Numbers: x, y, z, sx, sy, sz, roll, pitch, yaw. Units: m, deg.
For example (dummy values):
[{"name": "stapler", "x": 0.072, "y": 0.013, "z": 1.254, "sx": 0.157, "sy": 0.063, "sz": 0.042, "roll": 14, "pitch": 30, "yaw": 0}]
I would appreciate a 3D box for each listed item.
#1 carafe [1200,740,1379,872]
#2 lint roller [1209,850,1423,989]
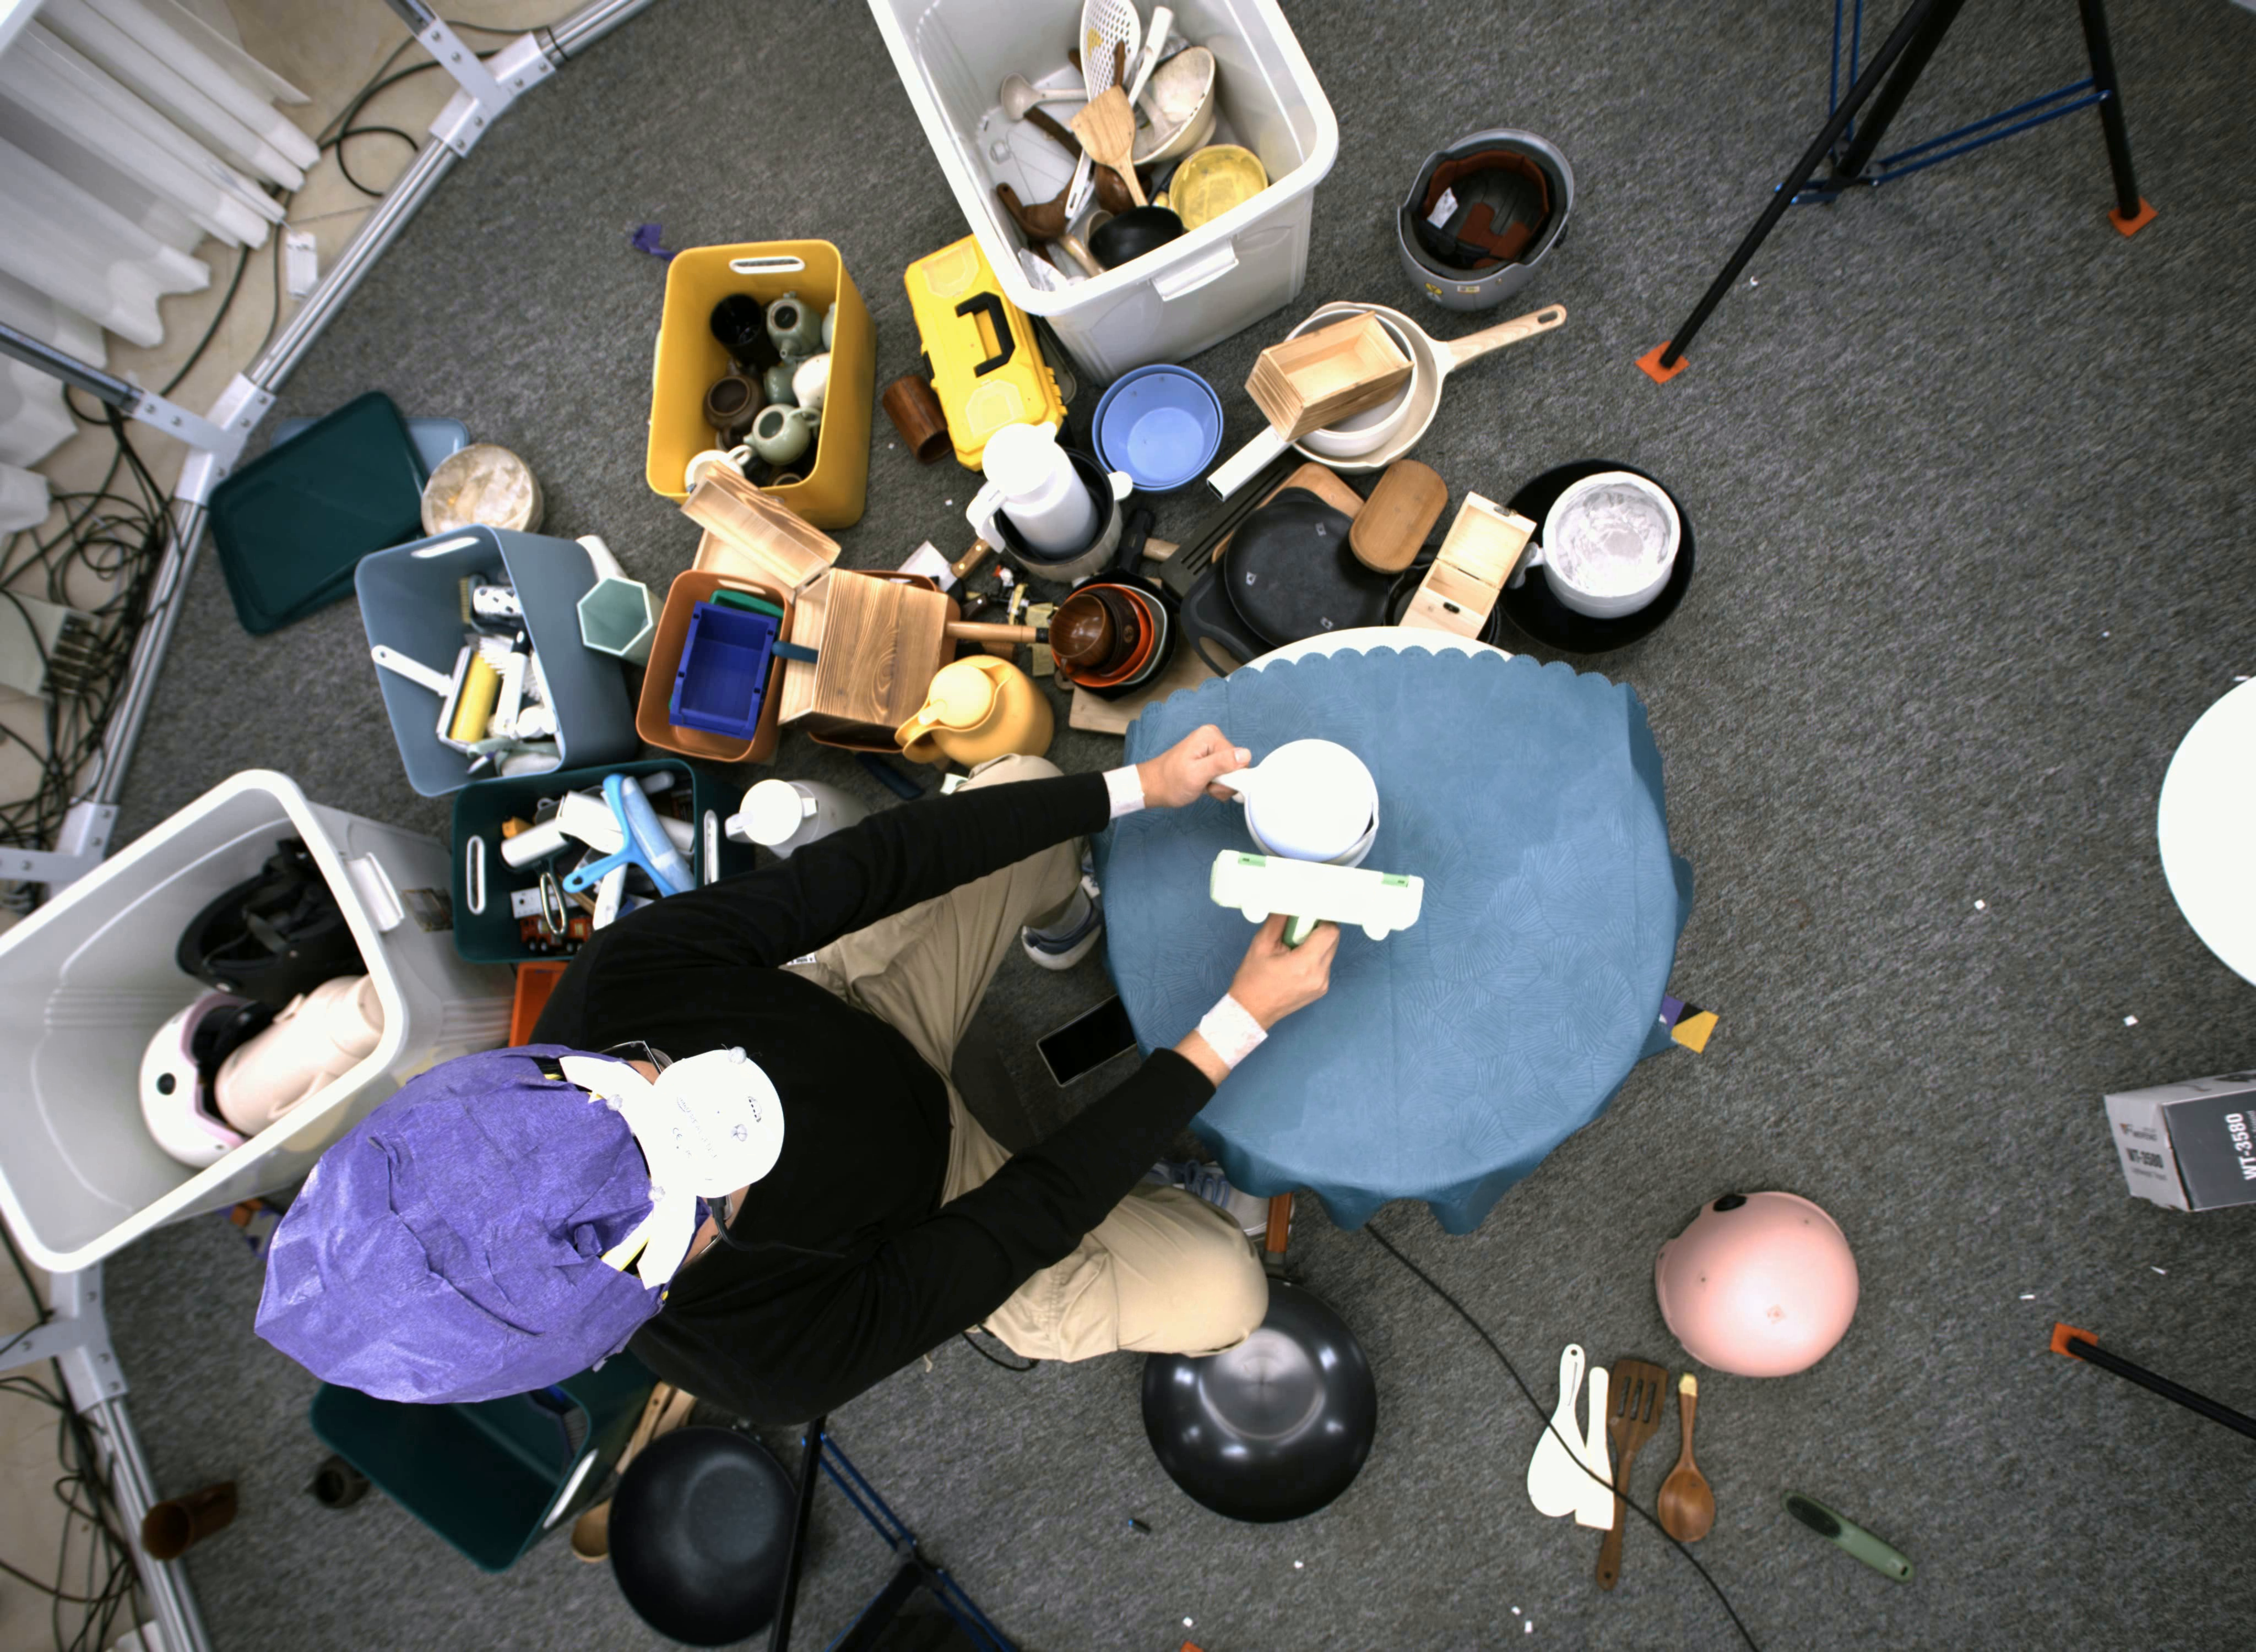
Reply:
[{"name": "carafe", "x": 0.163, "y": -0.022, "z": 1.398, "sx": 0.191, "sy": 0.183, "sz": 0.132, "roll": 19, "pitch": 88, "yaw": 13}, {"name": "lint roller", "x": 0.168, "y": 0.108, "z": 1.339, "sx": 0.199, "sy": 0.080, "sz": 0.188, "roll": 8, "pitch": 127, "yaw": -3}]
